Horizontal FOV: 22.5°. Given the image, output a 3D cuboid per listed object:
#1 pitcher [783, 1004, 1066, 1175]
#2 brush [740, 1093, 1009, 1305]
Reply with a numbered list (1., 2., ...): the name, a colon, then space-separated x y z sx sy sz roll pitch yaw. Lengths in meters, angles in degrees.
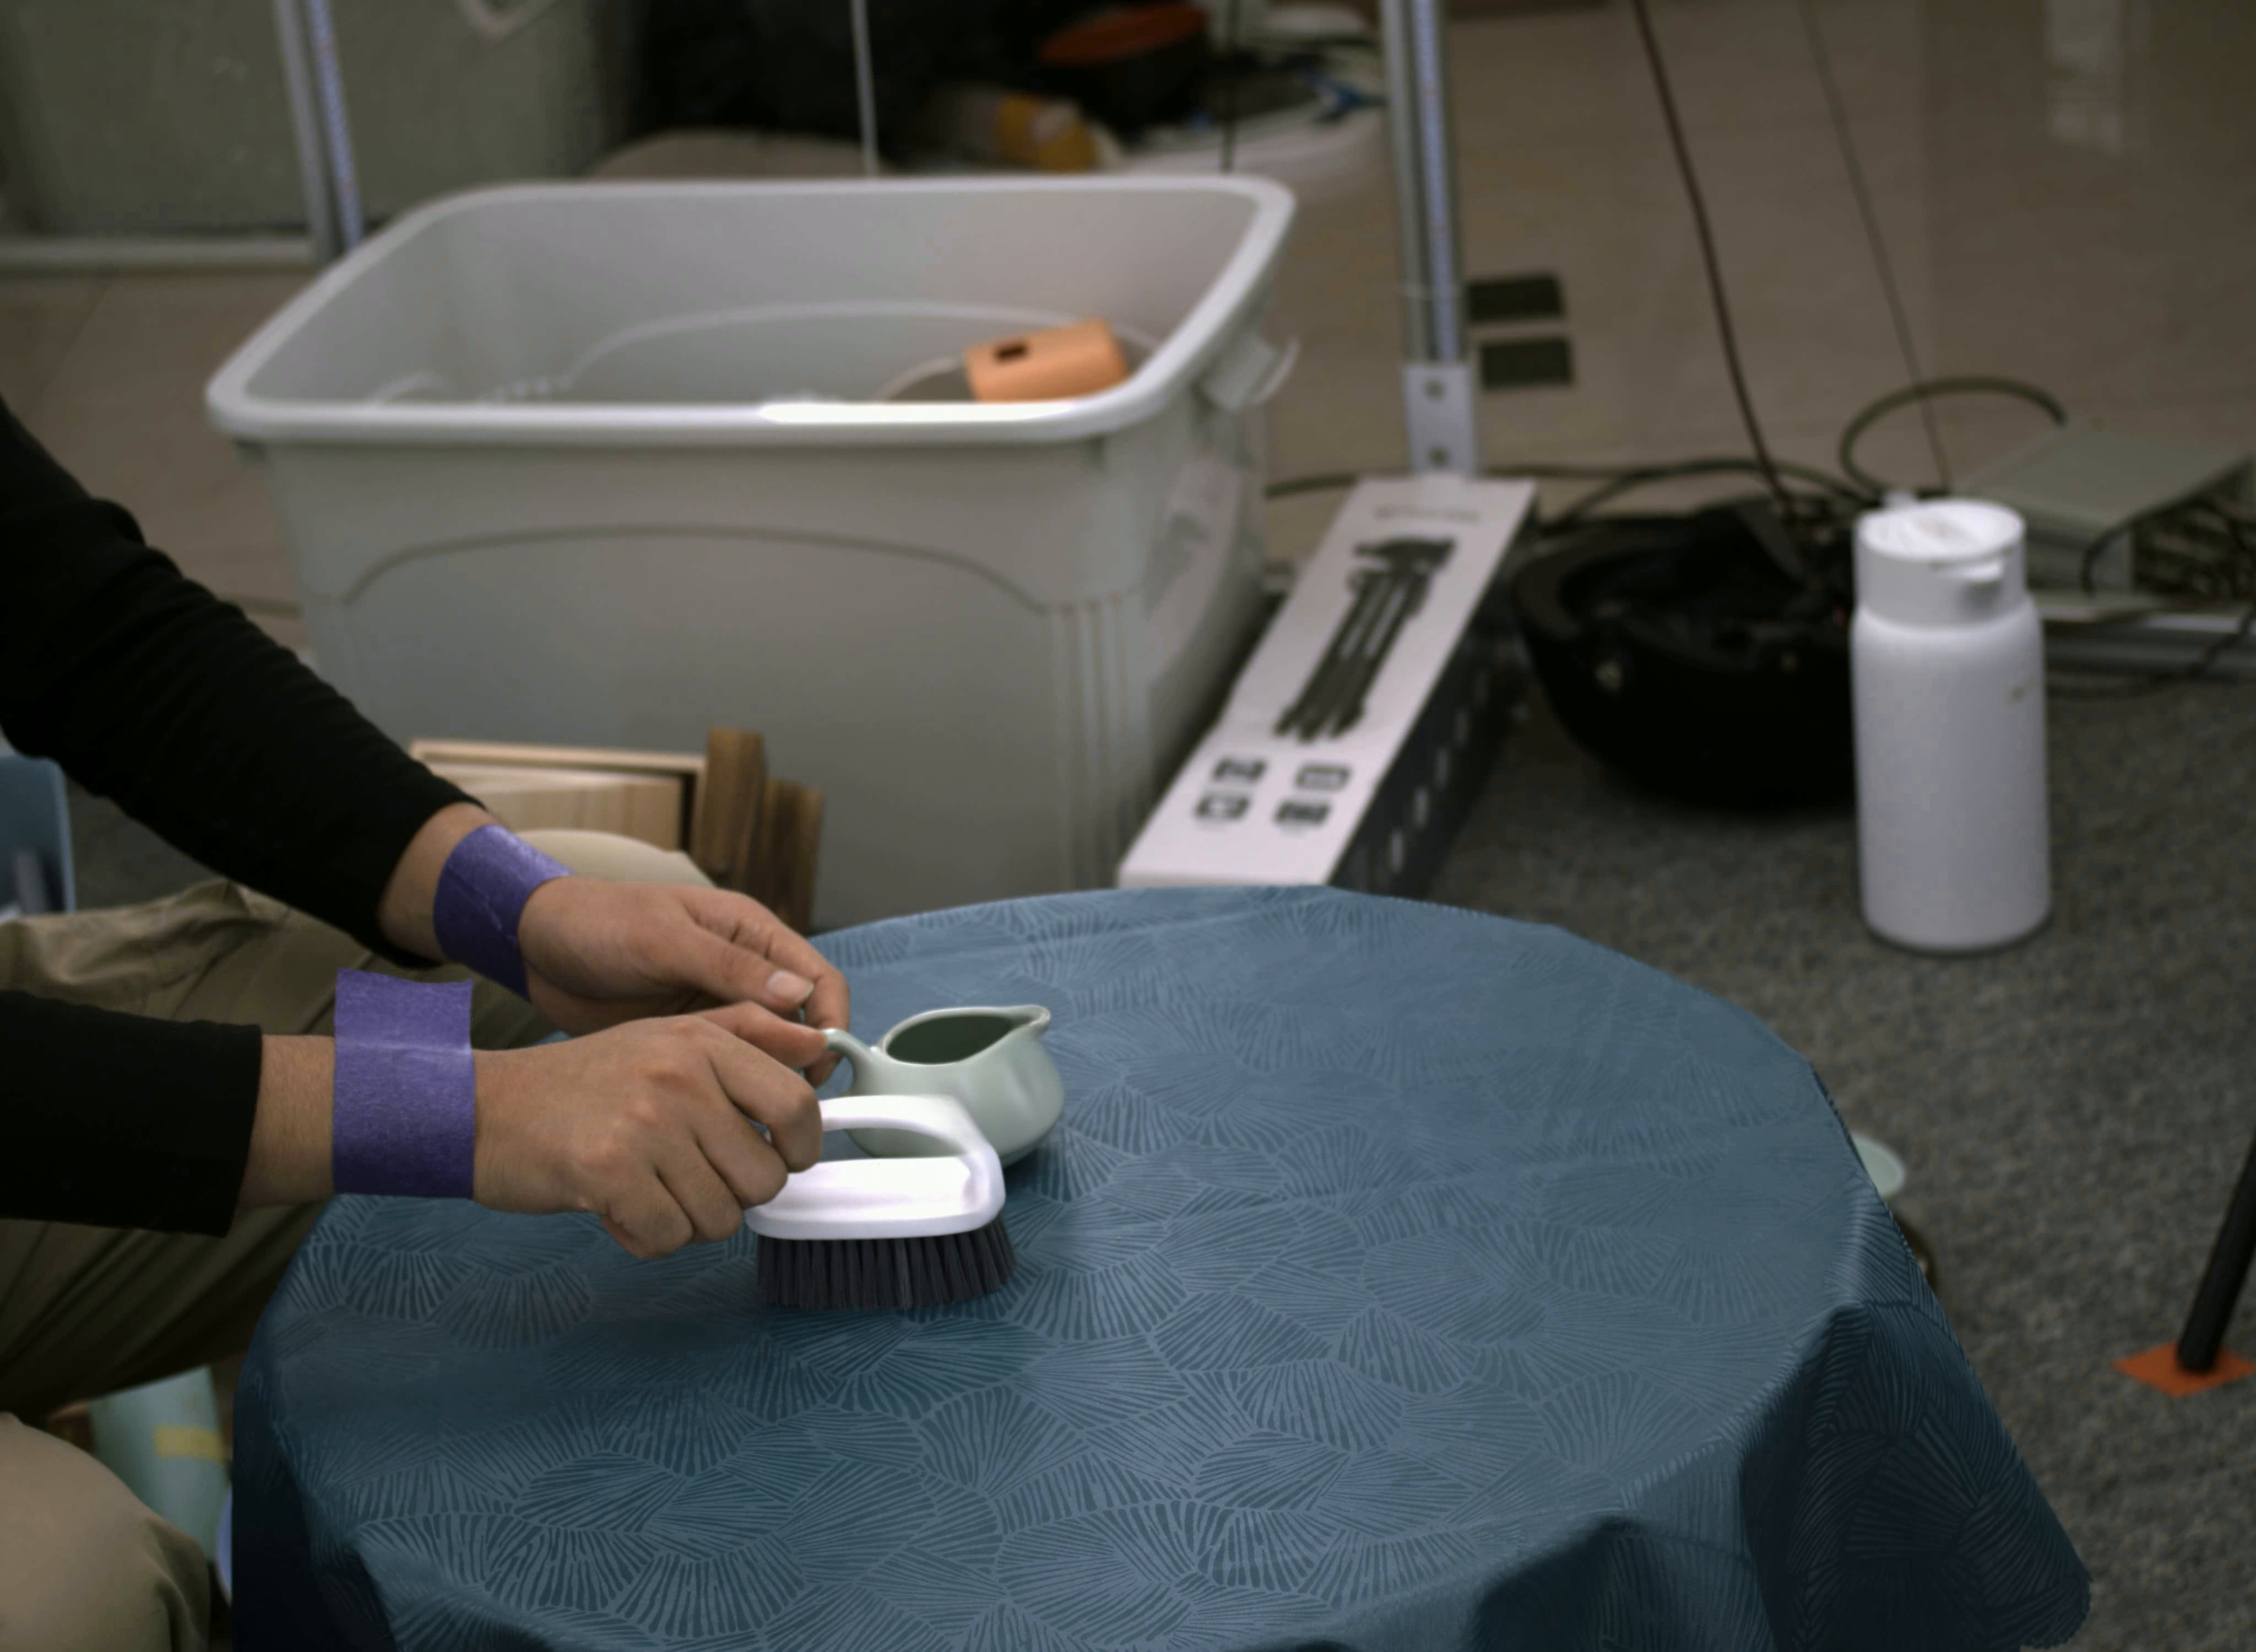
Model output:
1. pitcher: -0.078 0.103 2.177 0.108 0.061 0.085 -10 25 -2
2. brush: -0.095 0.133 2.091 0.099 0.073 0.049 0 25 10
